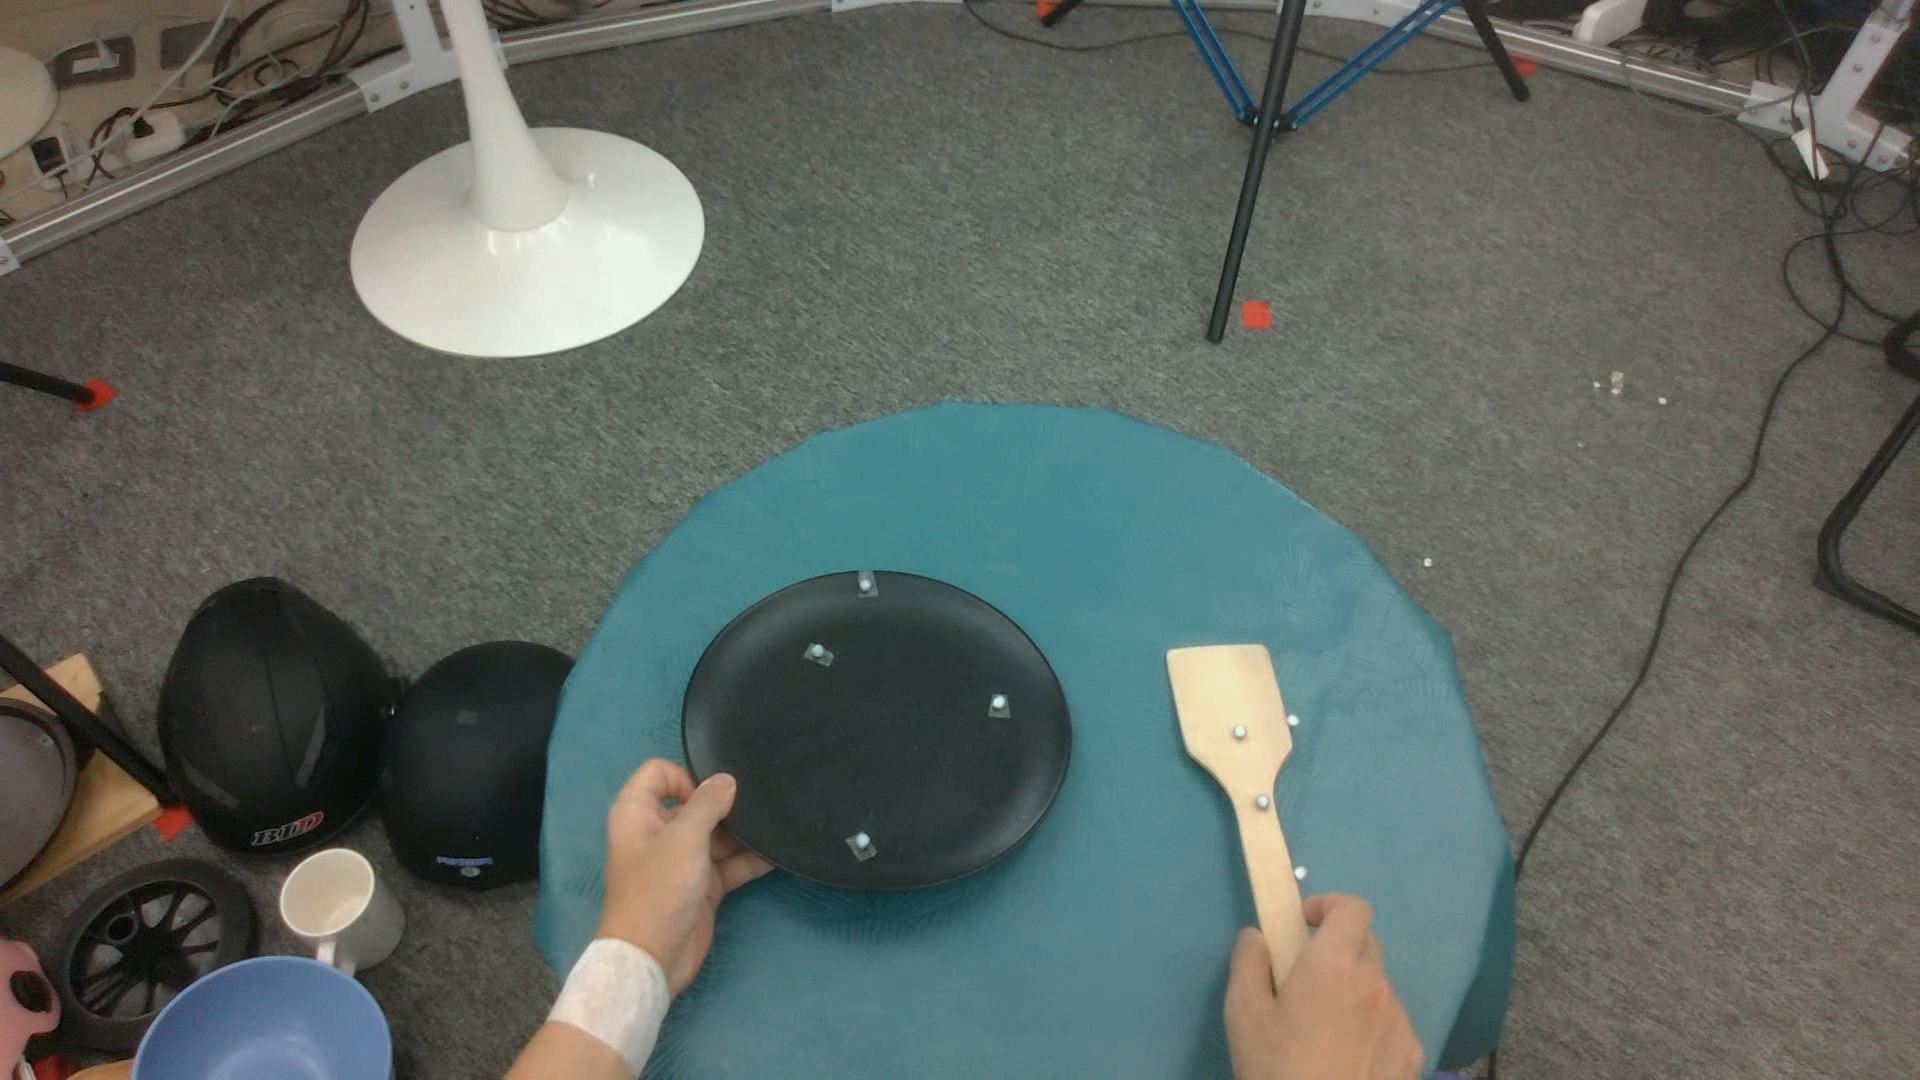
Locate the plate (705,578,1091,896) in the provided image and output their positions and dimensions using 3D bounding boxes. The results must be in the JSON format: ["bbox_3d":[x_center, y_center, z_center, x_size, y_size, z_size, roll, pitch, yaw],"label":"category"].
[{"bbox_3d":[-0.038,0.121,0.876,0.244,0.023,0.245,4,46,-4],"label":"plate"}]

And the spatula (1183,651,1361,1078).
[{"bbox_3d":[0.195,0.182,0.836,0.072,0.010,0.294,-4,45,-1],"label":"spatula"}]
